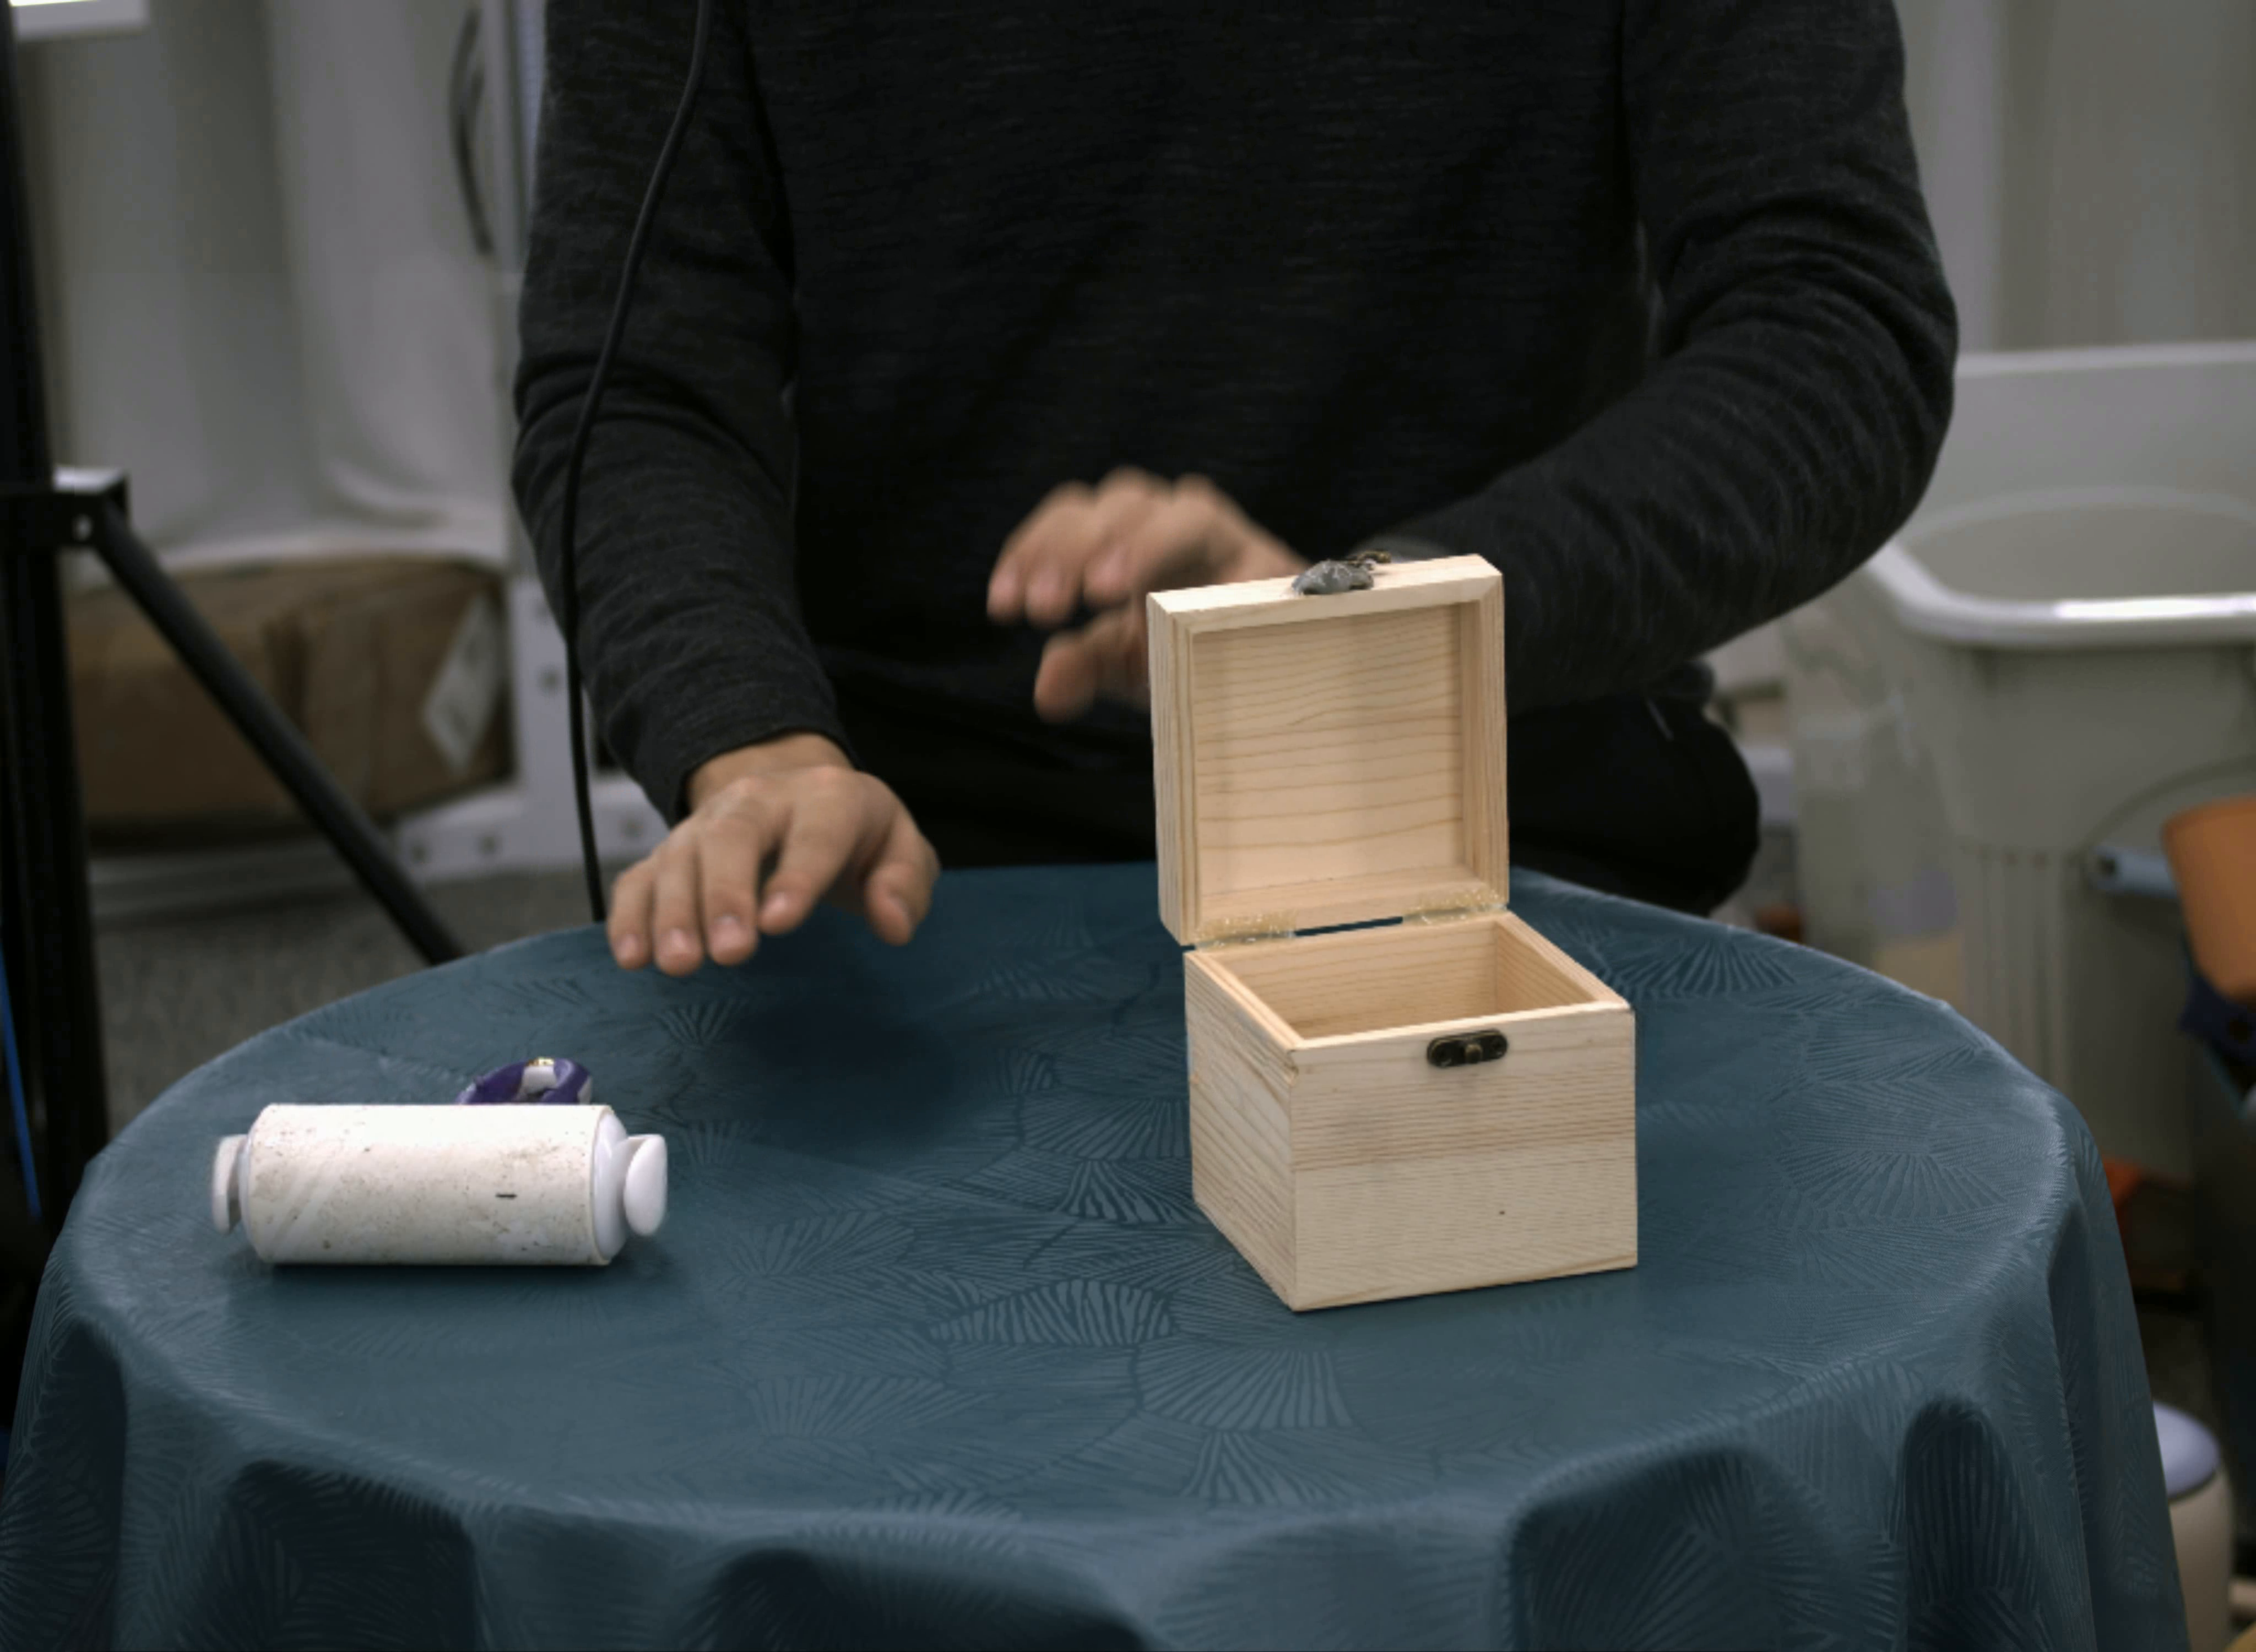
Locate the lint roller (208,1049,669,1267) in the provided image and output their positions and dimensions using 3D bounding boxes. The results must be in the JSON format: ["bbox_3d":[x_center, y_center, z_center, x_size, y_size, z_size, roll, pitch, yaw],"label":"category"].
[{"bbox_3d":[-0.189,0.084,1.588,0.133,0.050,0.180,-1,18,9],"label":"lint roller"}]

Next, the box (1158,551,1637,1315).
[{"bbox_3d":[0.076,0.027,1.495,0.101,0.184,0.136,-6,15,-14],"label":"box"}]
